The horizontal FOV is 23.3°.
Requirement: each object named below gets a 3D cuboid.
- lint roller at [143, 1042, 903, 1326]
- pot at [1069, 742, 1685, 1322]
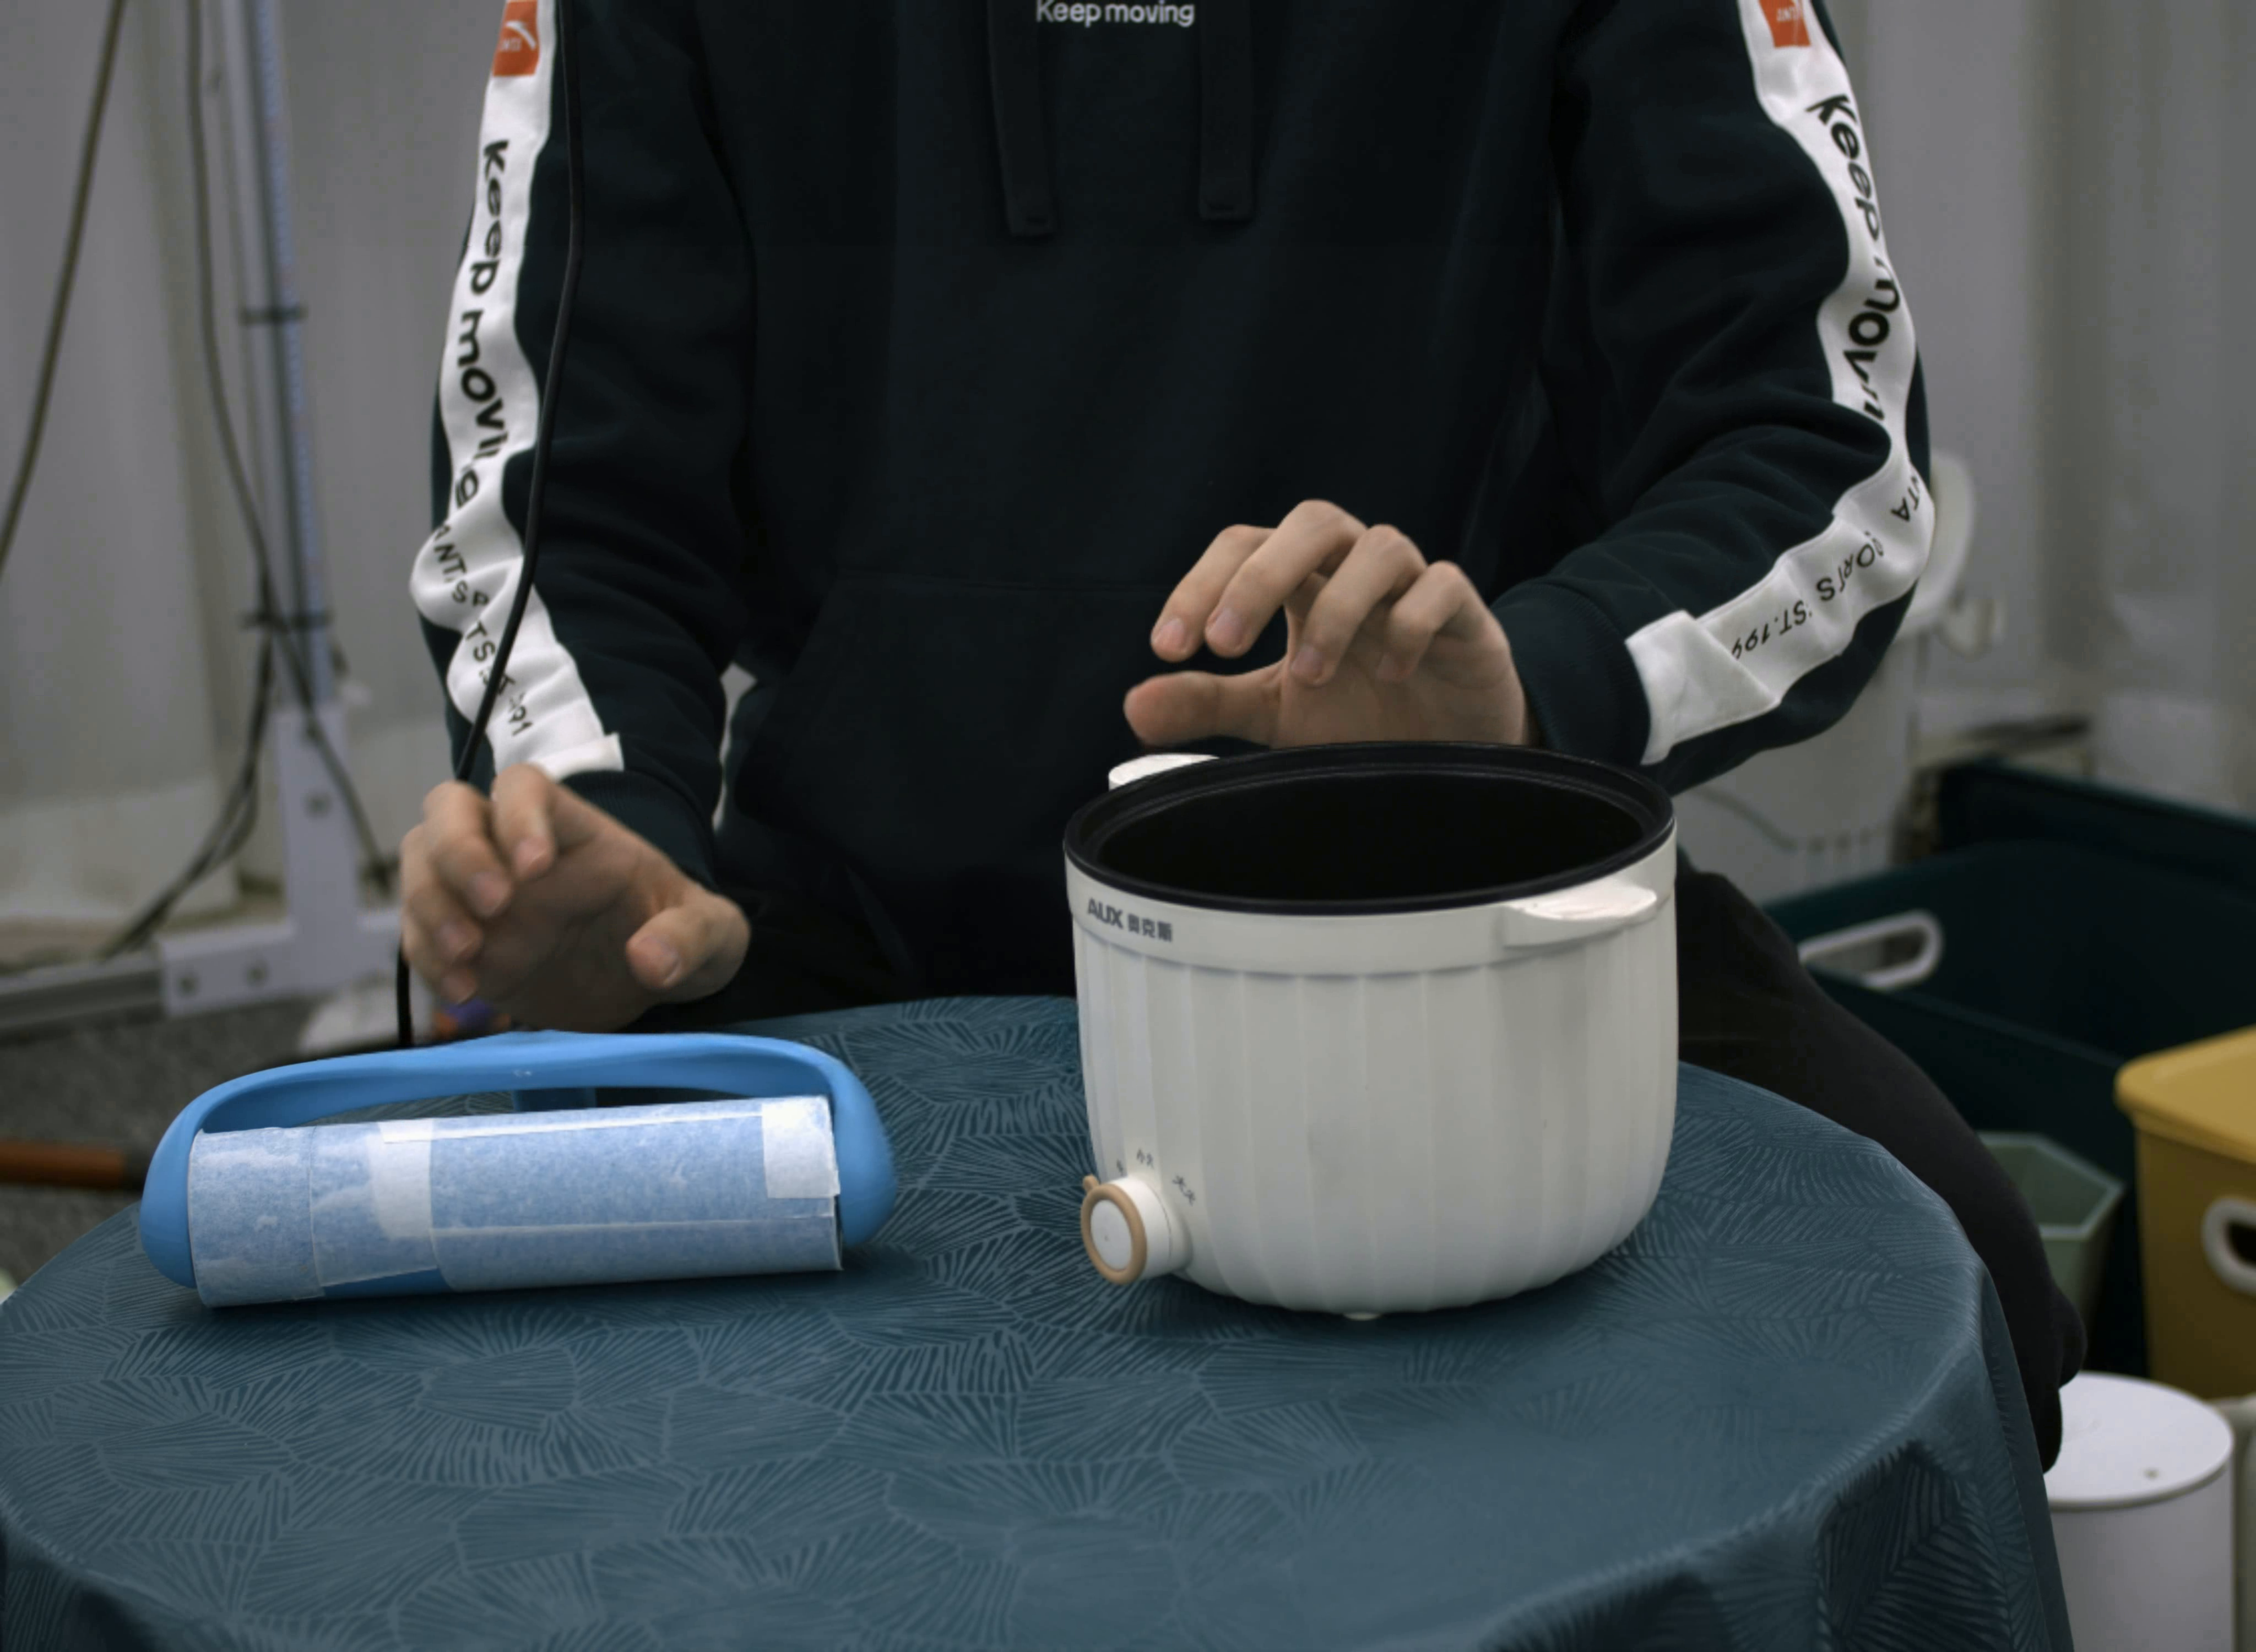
[{"bbox_3d":[-0.188,0.099,1.706,0.228,0.067,0.182,-6,16,-4],"label":"lint roller"},{"bbox_3d":[0.072,0.063,1.626,0.190,0.142,0.242,-10,14,-35],"label":"pot"}]
